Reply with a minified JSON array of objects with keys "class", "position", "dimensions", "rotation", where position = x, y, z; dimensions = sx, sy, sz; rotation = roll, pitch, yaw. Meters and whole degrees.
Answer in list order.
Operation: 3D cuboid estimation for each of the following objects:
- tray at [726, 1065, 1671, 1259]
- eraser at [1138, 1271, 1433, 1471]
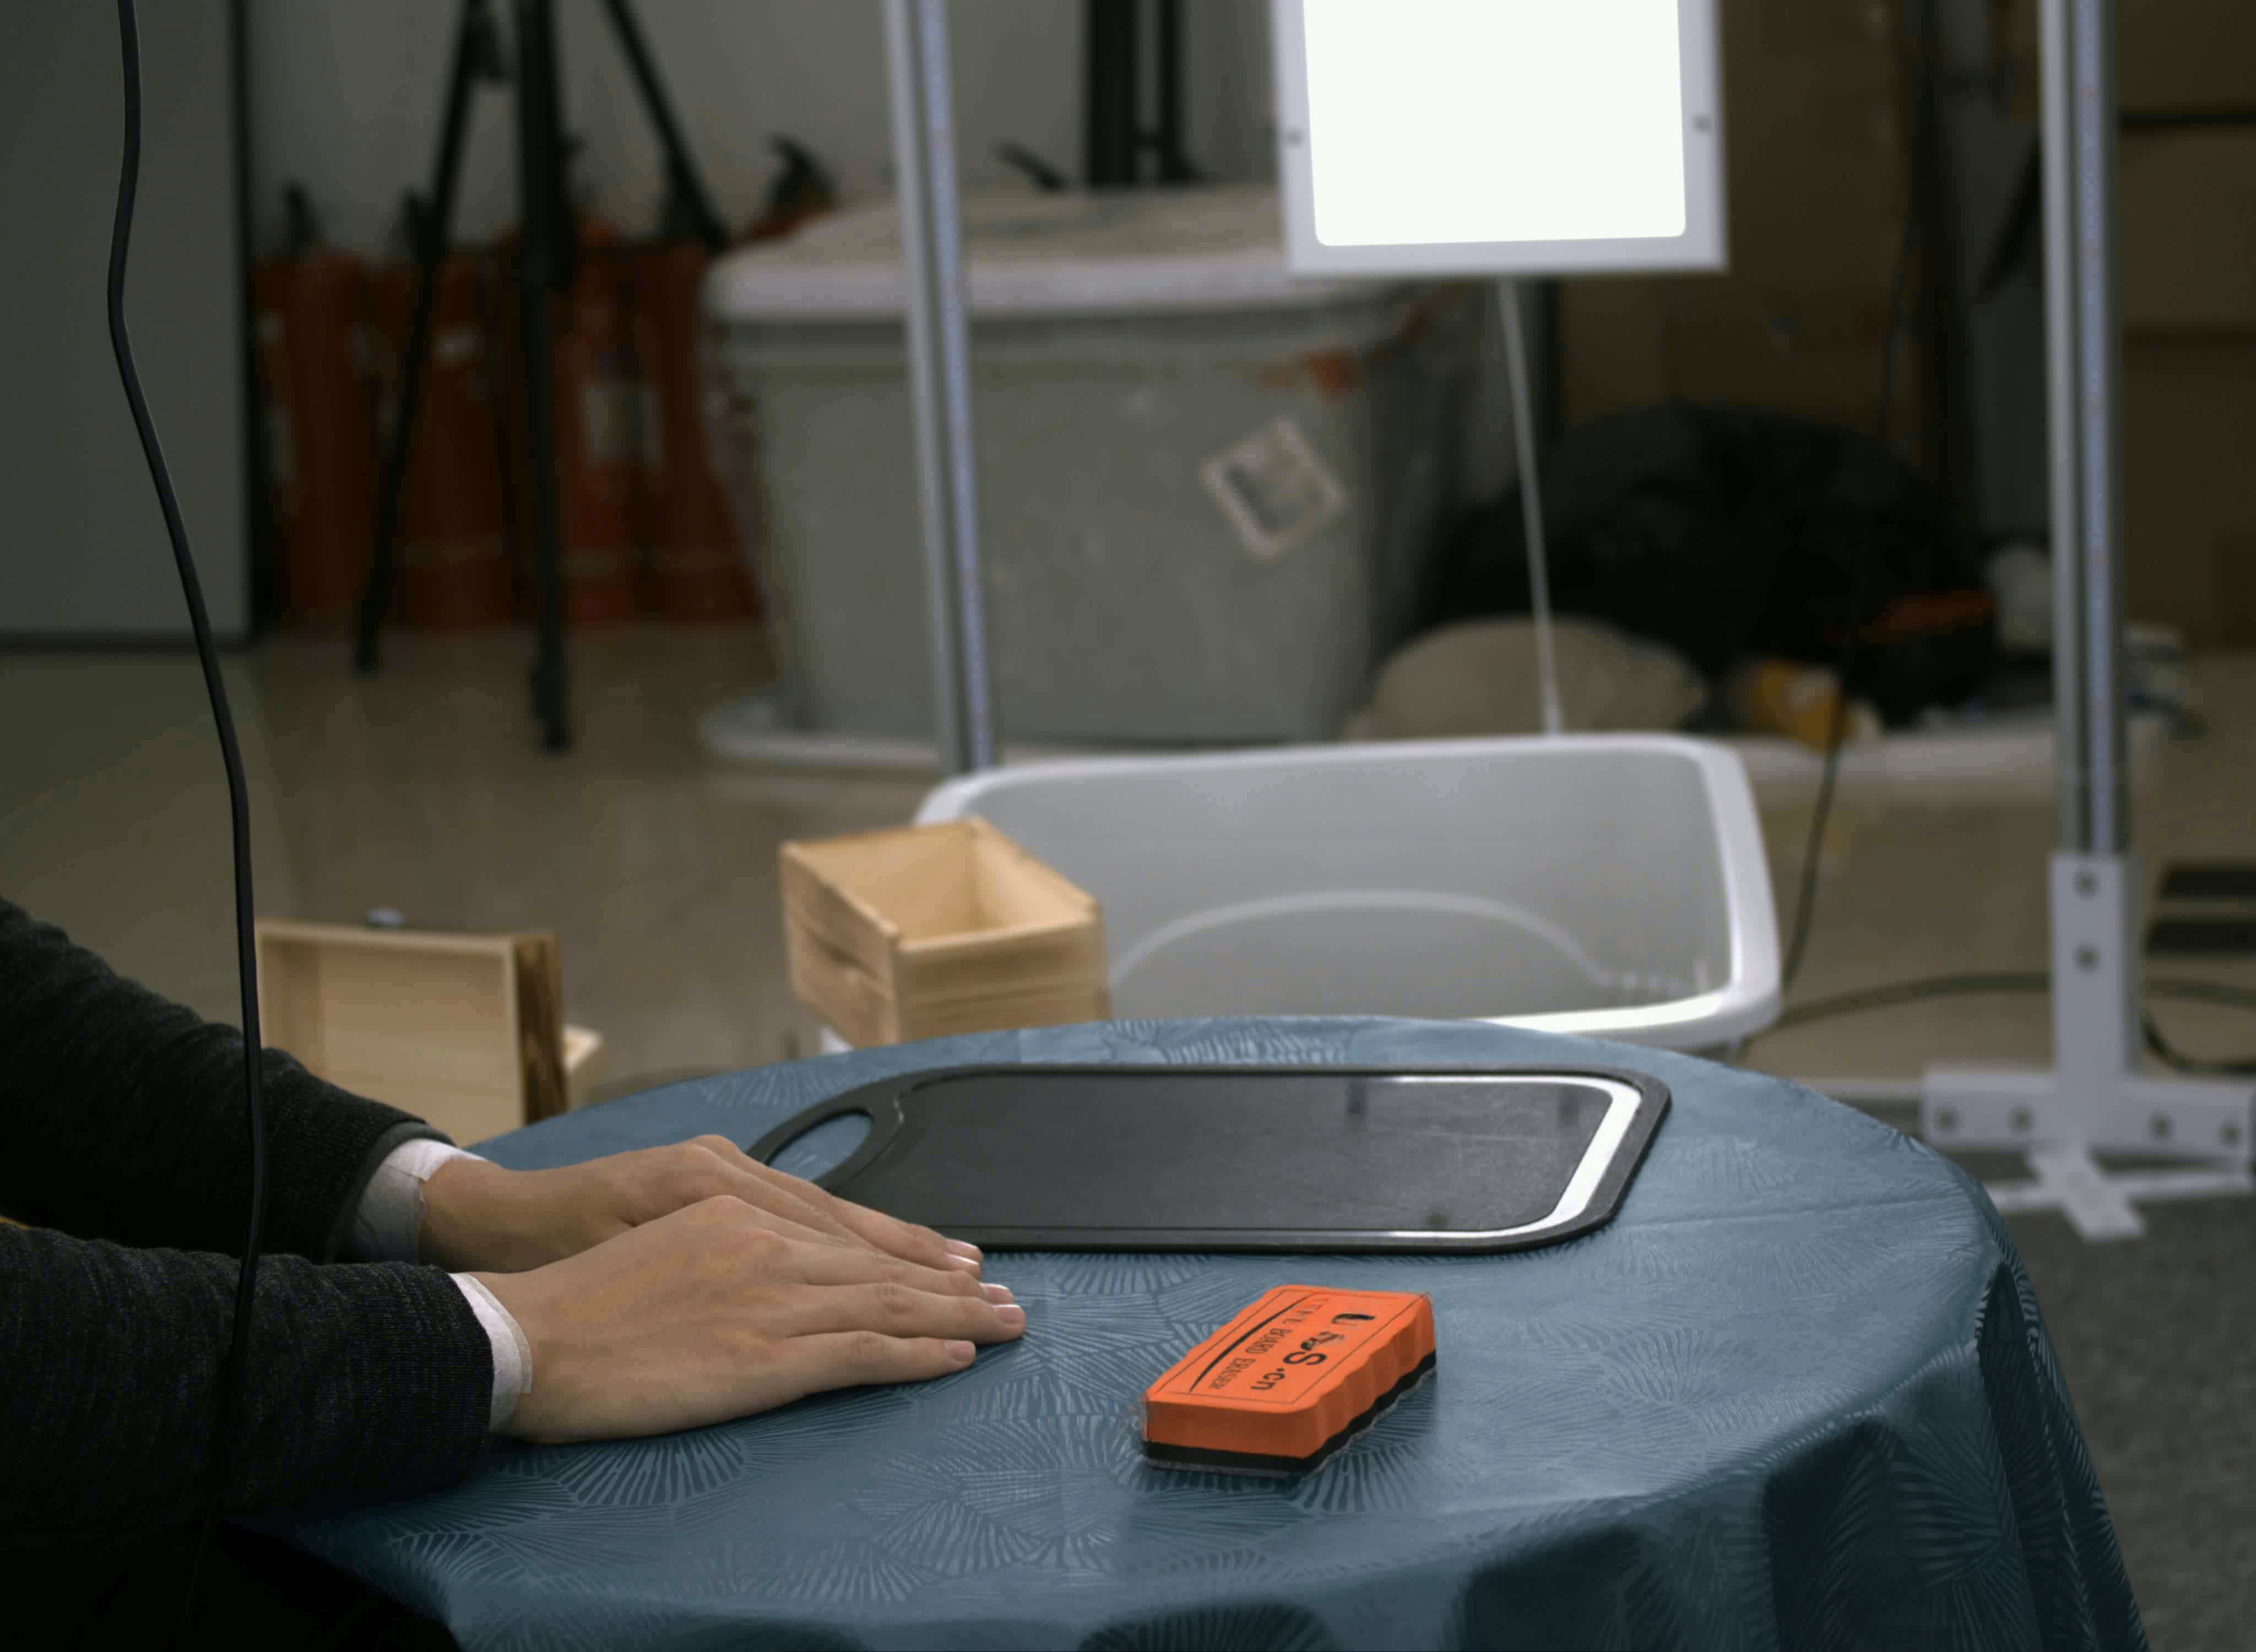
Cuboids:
[{"class":"tray","position":[0.020,0.114,1.929],"dimensions":[0.329,0.010,0.208],"rotation":[-1,14,18]},{"class":"eraser","position":[0.049,0.164,1.664],"dimensions":[0.060,0.023,0.106],"rotation":[0,17,27]}]
